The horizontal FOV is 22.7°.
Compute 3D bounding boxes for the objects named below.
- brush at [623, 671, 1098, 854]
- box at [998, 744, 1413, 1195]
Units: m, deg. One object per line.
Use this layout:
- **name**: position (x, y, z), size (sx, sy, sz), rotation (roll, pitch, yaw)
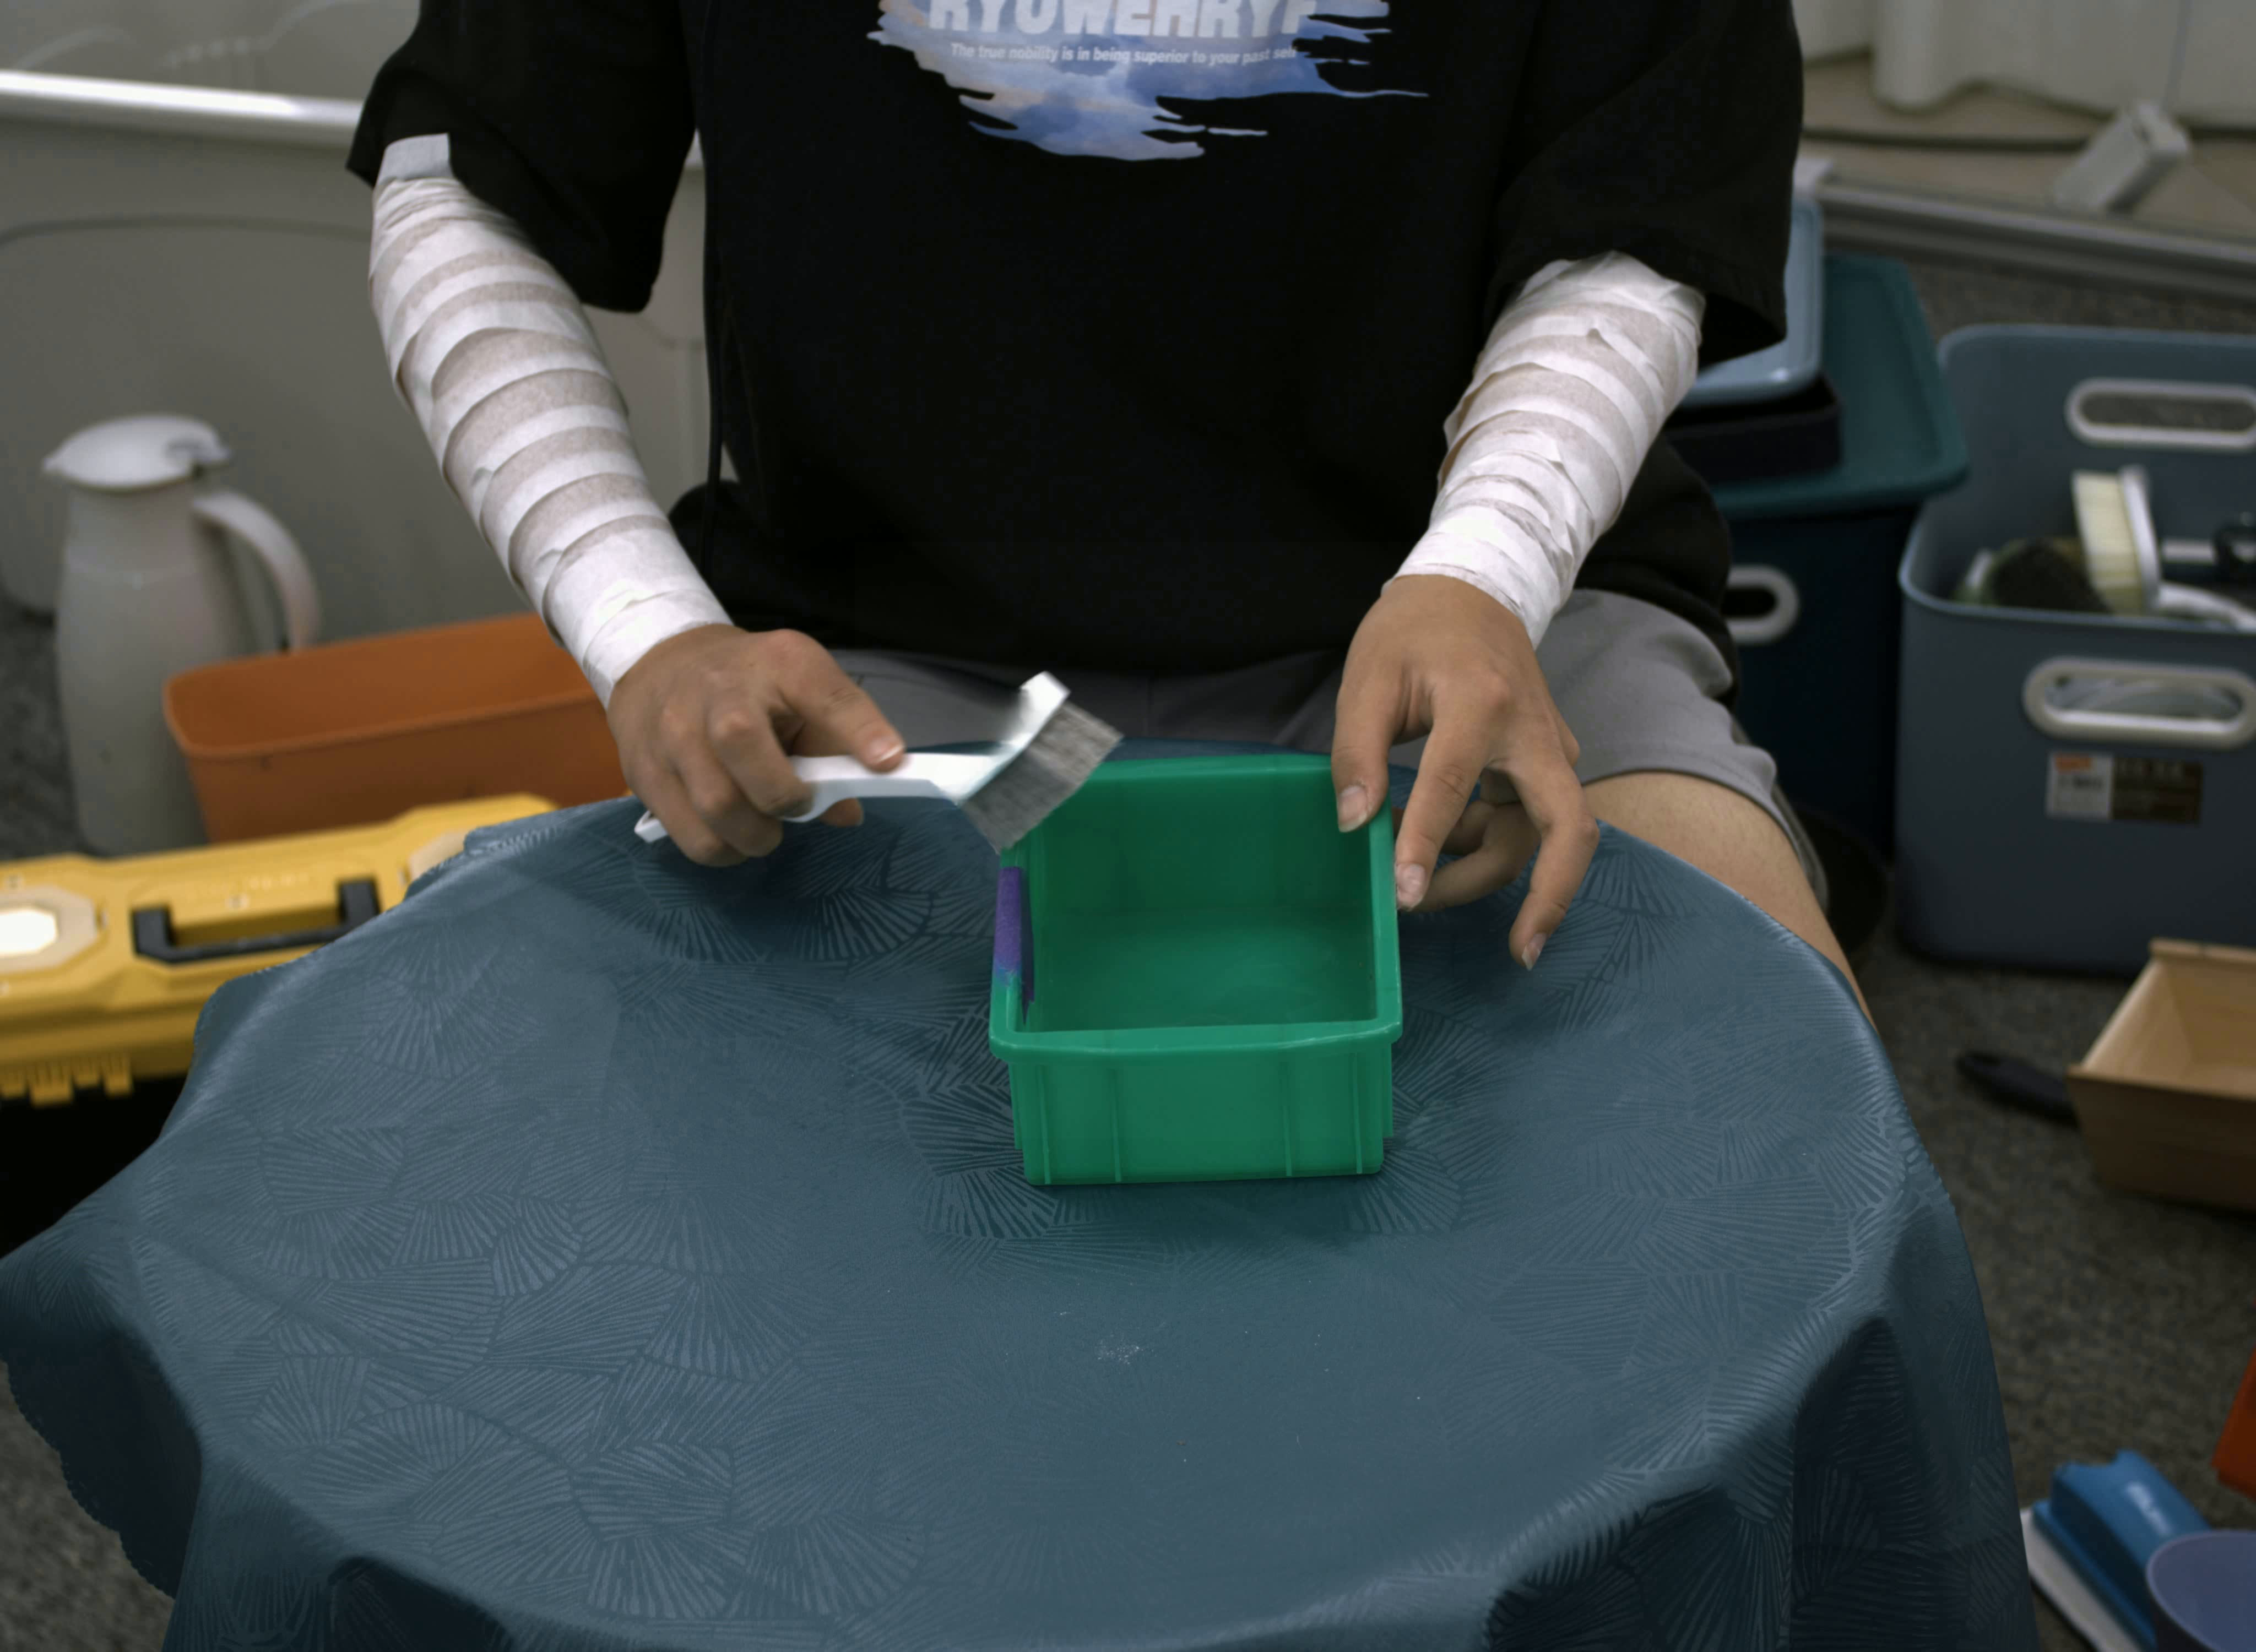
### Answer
- **brush**: position (-0.096, -0.006, 2.005), size (0.240, 0.050, 0.035), rotation (-17, 31, 48)
- **box**: position (0.028, 0.050, 1.928), size (0.138, 0.064, 0.214), rotation (-6, 28, 2)
